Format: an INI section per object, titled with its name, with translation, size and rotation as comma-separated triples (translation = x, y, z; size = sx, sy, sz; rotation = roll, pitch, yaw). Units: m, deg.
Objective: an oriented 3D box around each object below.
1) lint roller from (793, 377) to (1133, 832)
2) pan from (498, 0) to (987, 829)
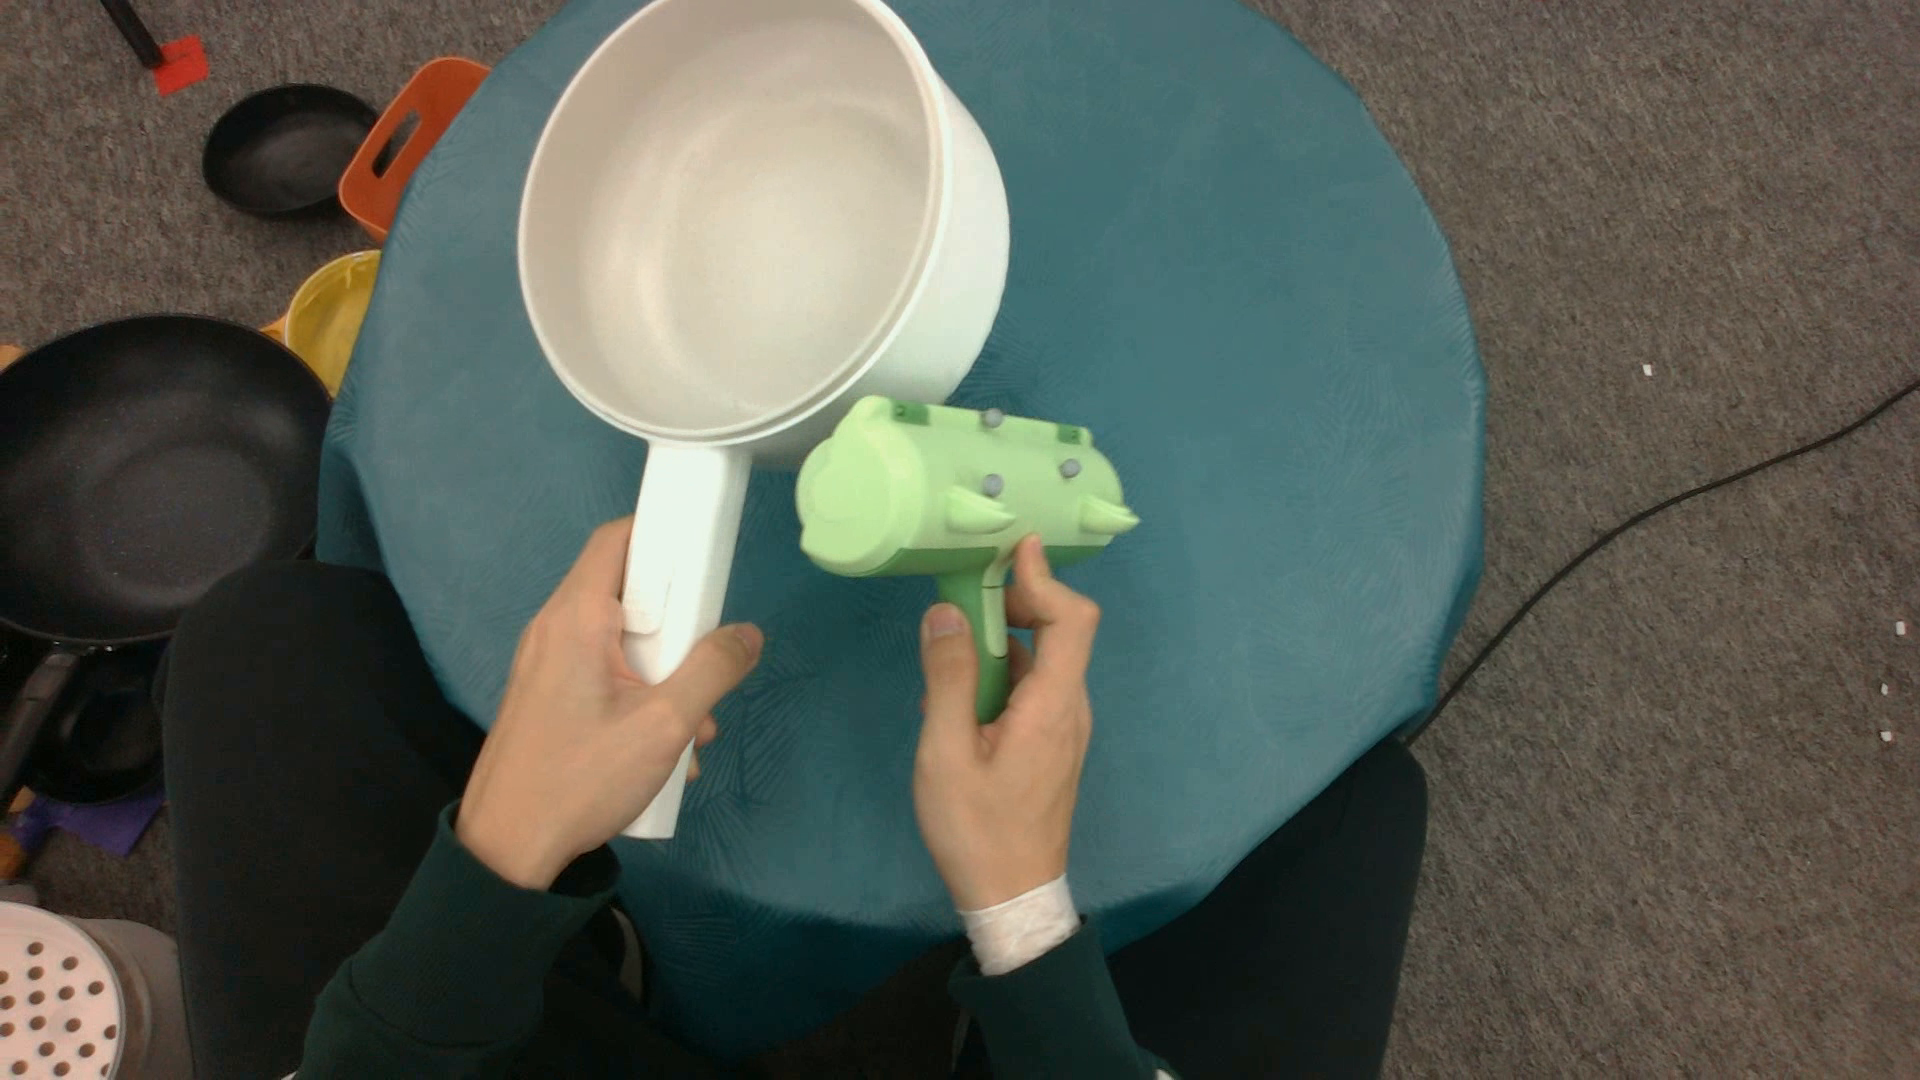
[lint roller]
translation = 0.016, 0.030, 0.574
size = 0.082, 0.199, 0.183
rotation = -7, 88, 29
[pan]
translation = -0.100, -0.058, 0.592
size = 0.201, 0.102, 0.355
rotation = 6, 84, 21
